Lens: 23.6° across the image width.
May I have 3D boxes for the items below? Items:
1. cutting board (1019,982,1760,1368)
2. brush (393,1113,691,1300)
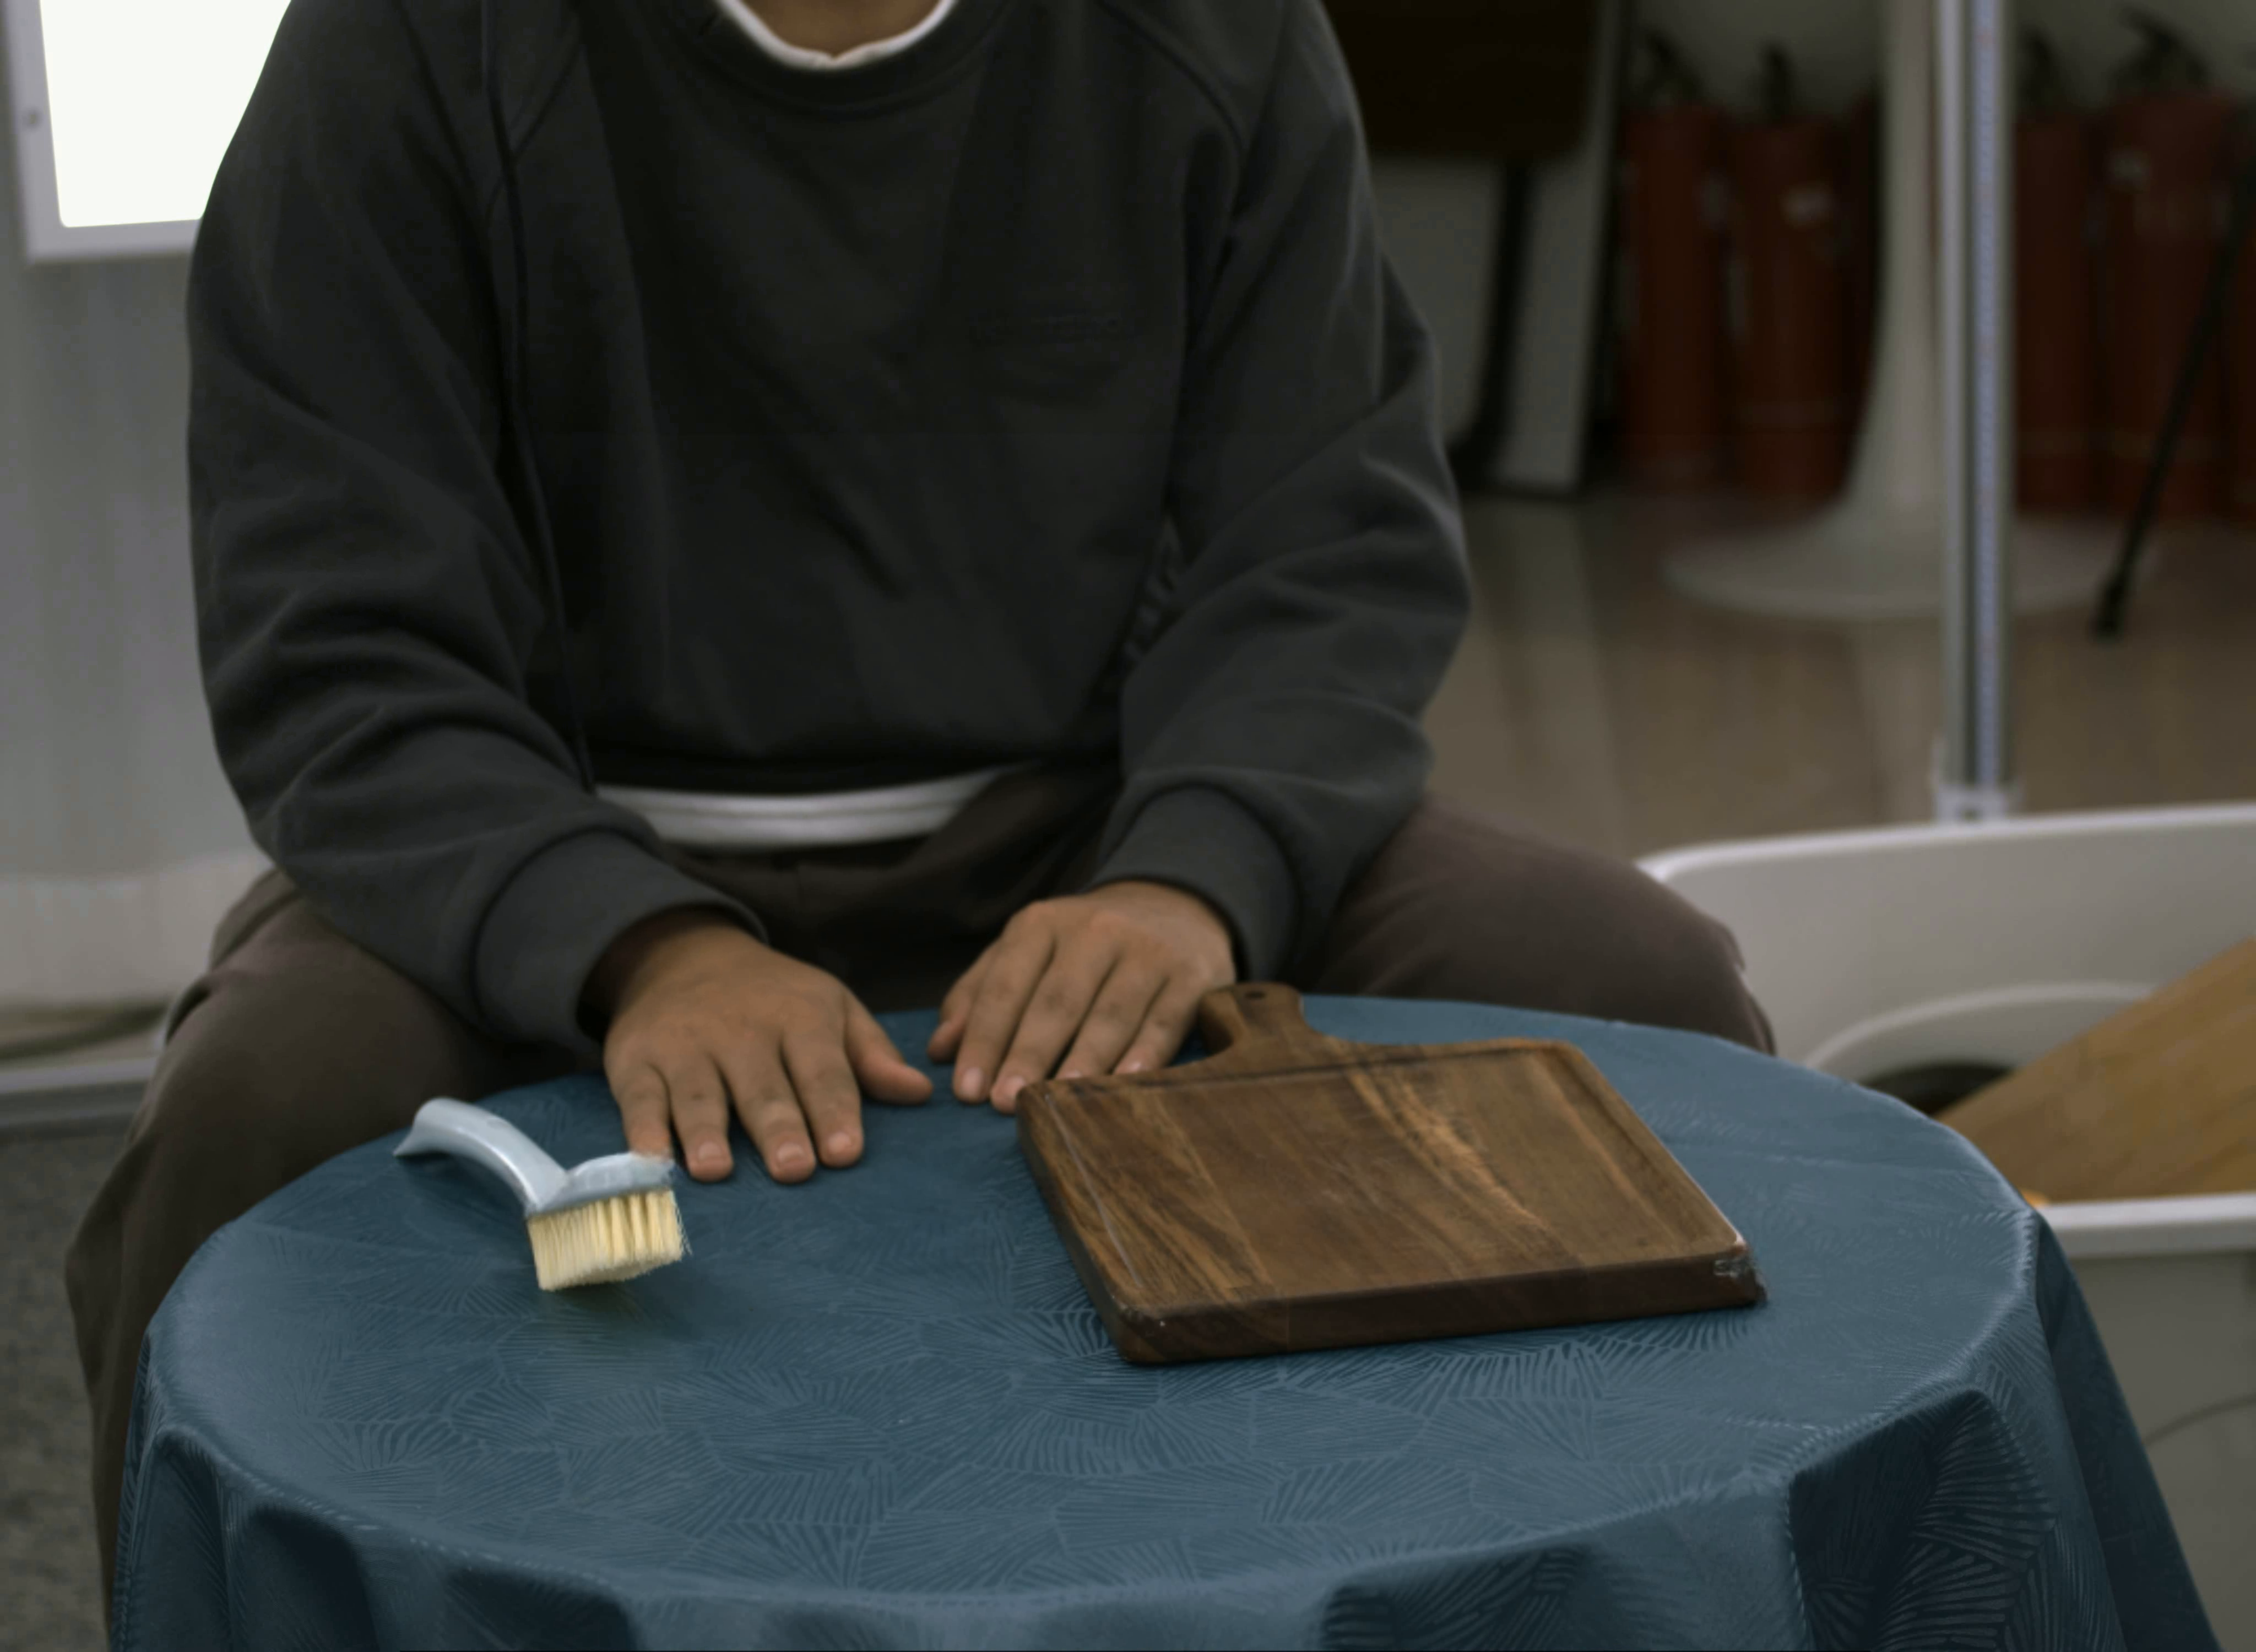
[{"bbox_3d":[0.070,0.105,1.777,0.198,0.023,0.354,-5,14,-7],"label":"cutting board"},{"bbox_3d":[-0.195,0.123,1.758,0.037,0.050,0.231,-3,3,-26],"label":"brush"}]
